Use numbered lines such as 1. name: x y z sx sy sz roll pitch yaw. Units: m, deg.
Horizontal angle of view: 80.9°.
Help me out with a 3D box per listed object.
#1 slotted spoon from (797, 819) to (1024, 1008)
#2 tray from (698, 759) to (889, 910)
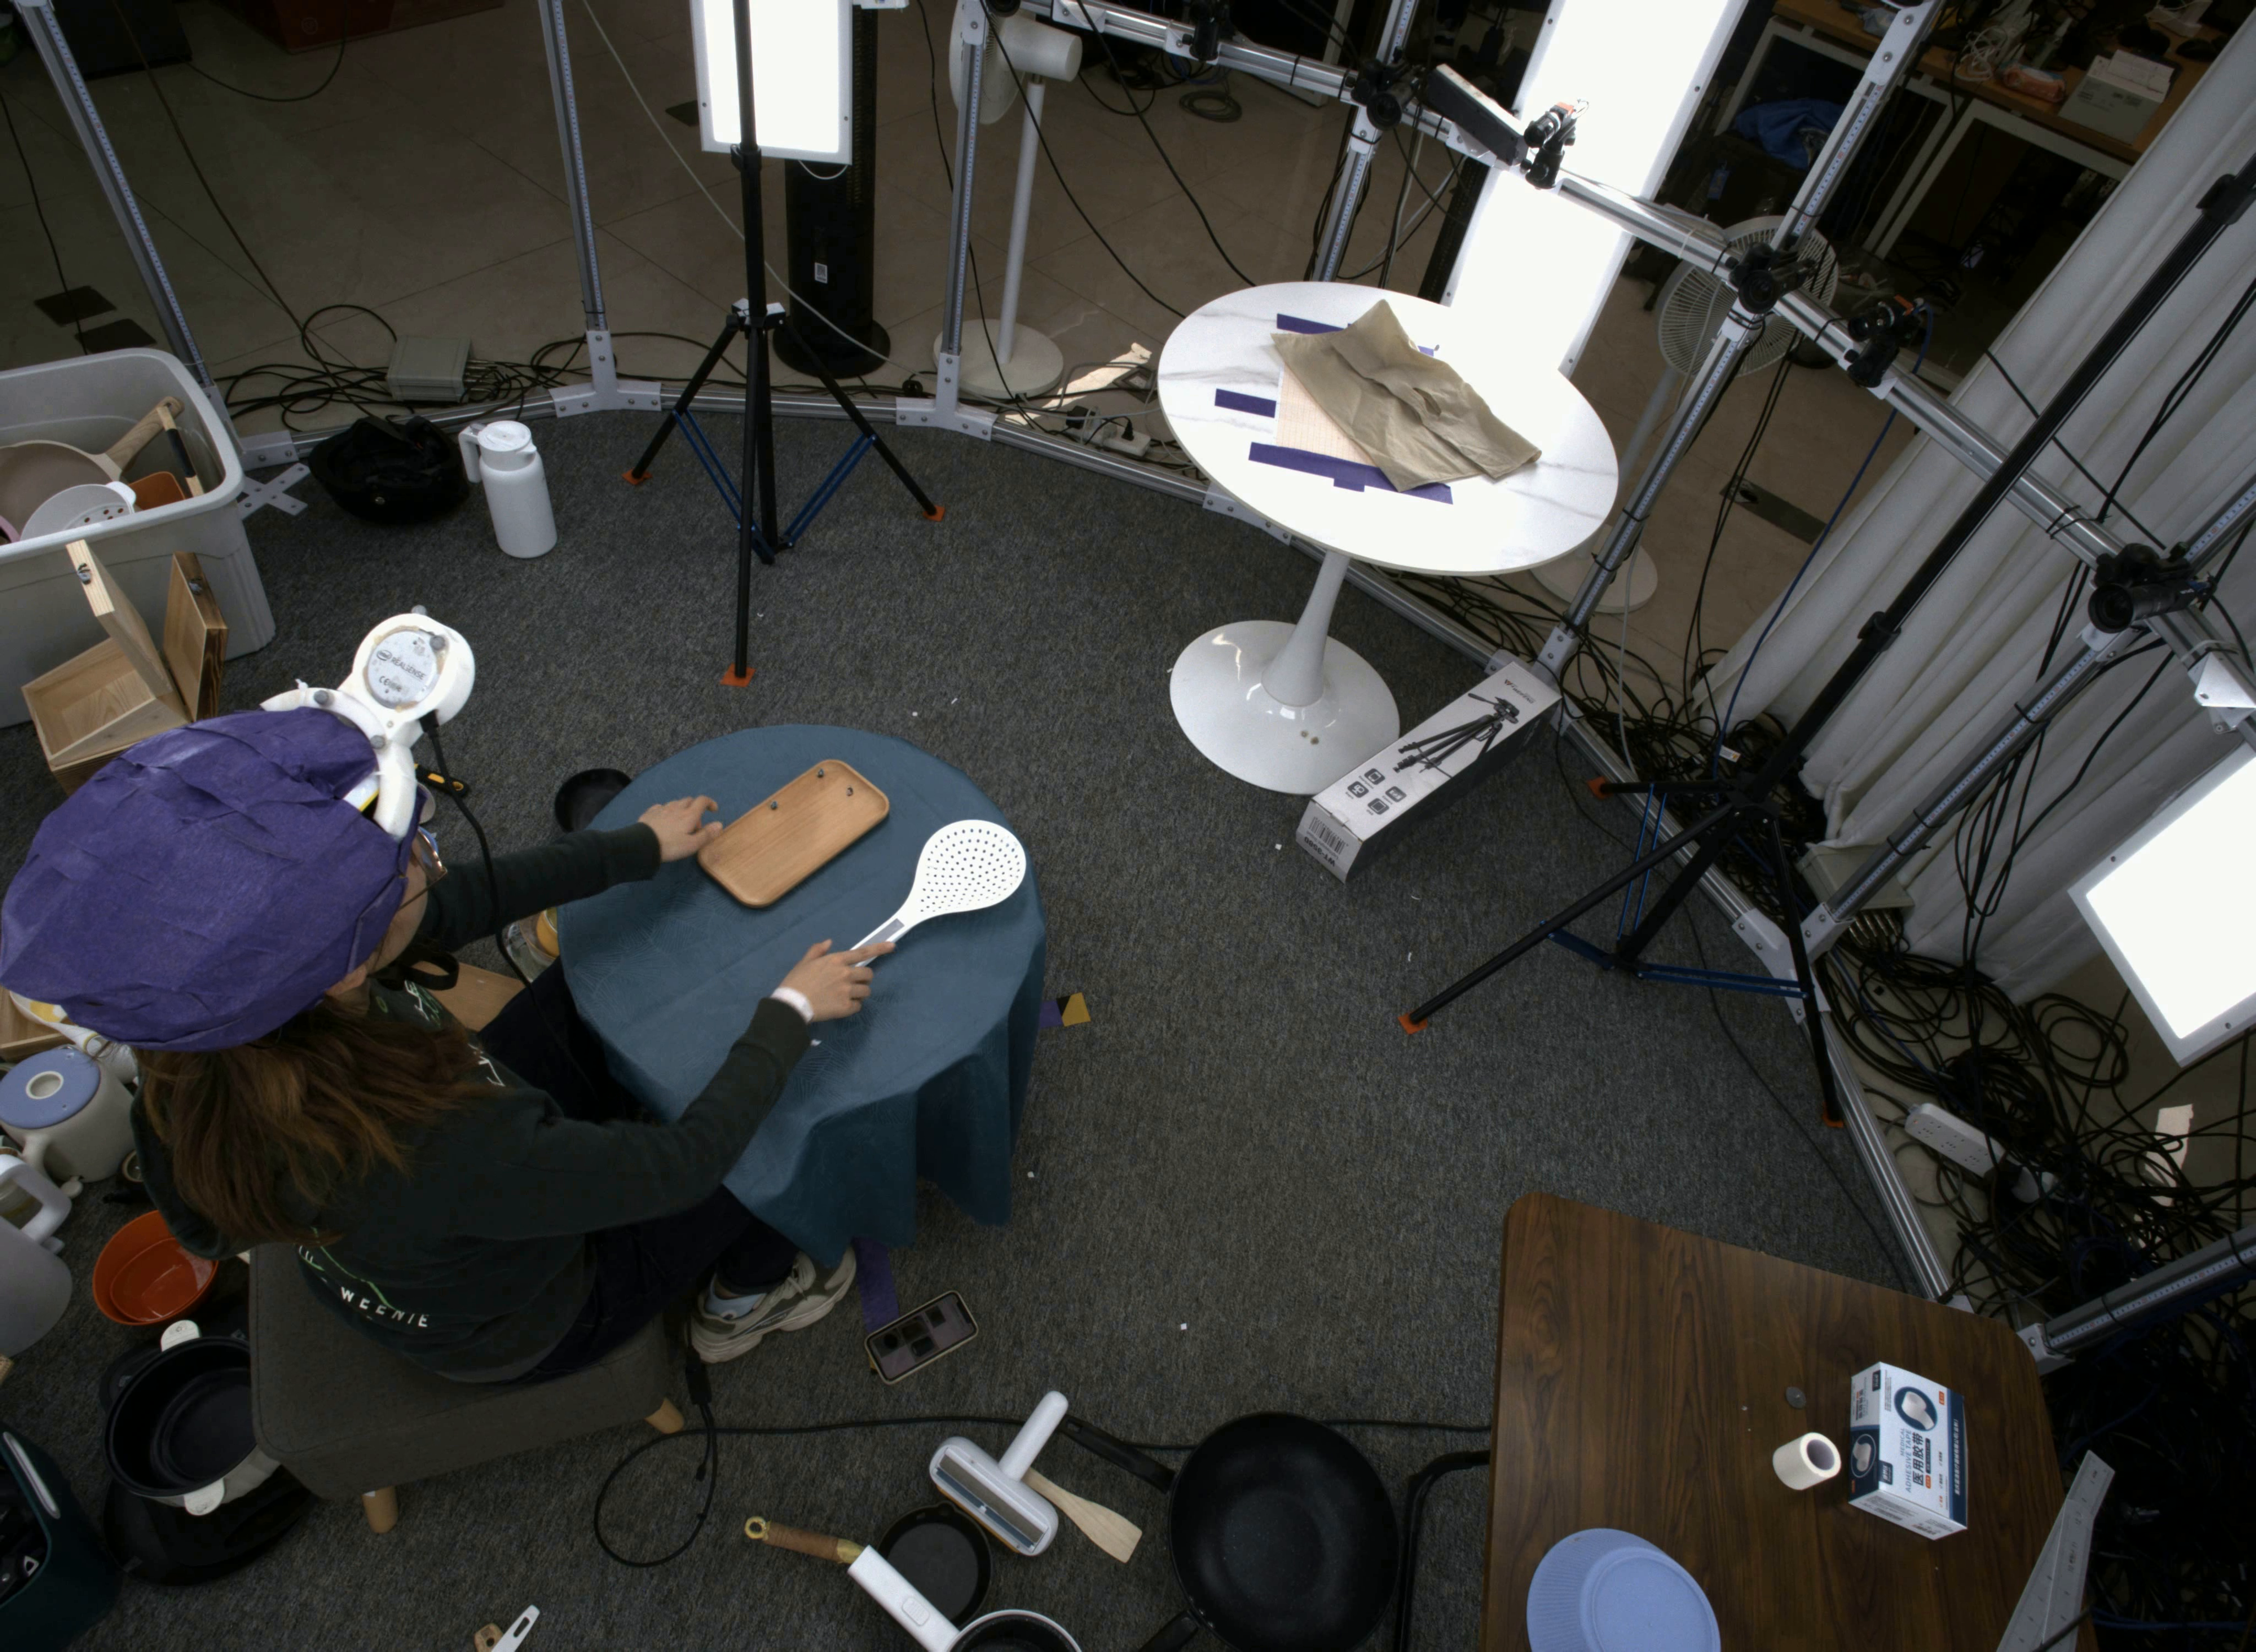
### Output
1. slotted spoon: -0.276 0.111 1.655 0.133 0.047 0.350 39 55 19
2. tray: -0.438 0.008 1.709 0.127 0.023 0.251 37 55 16
